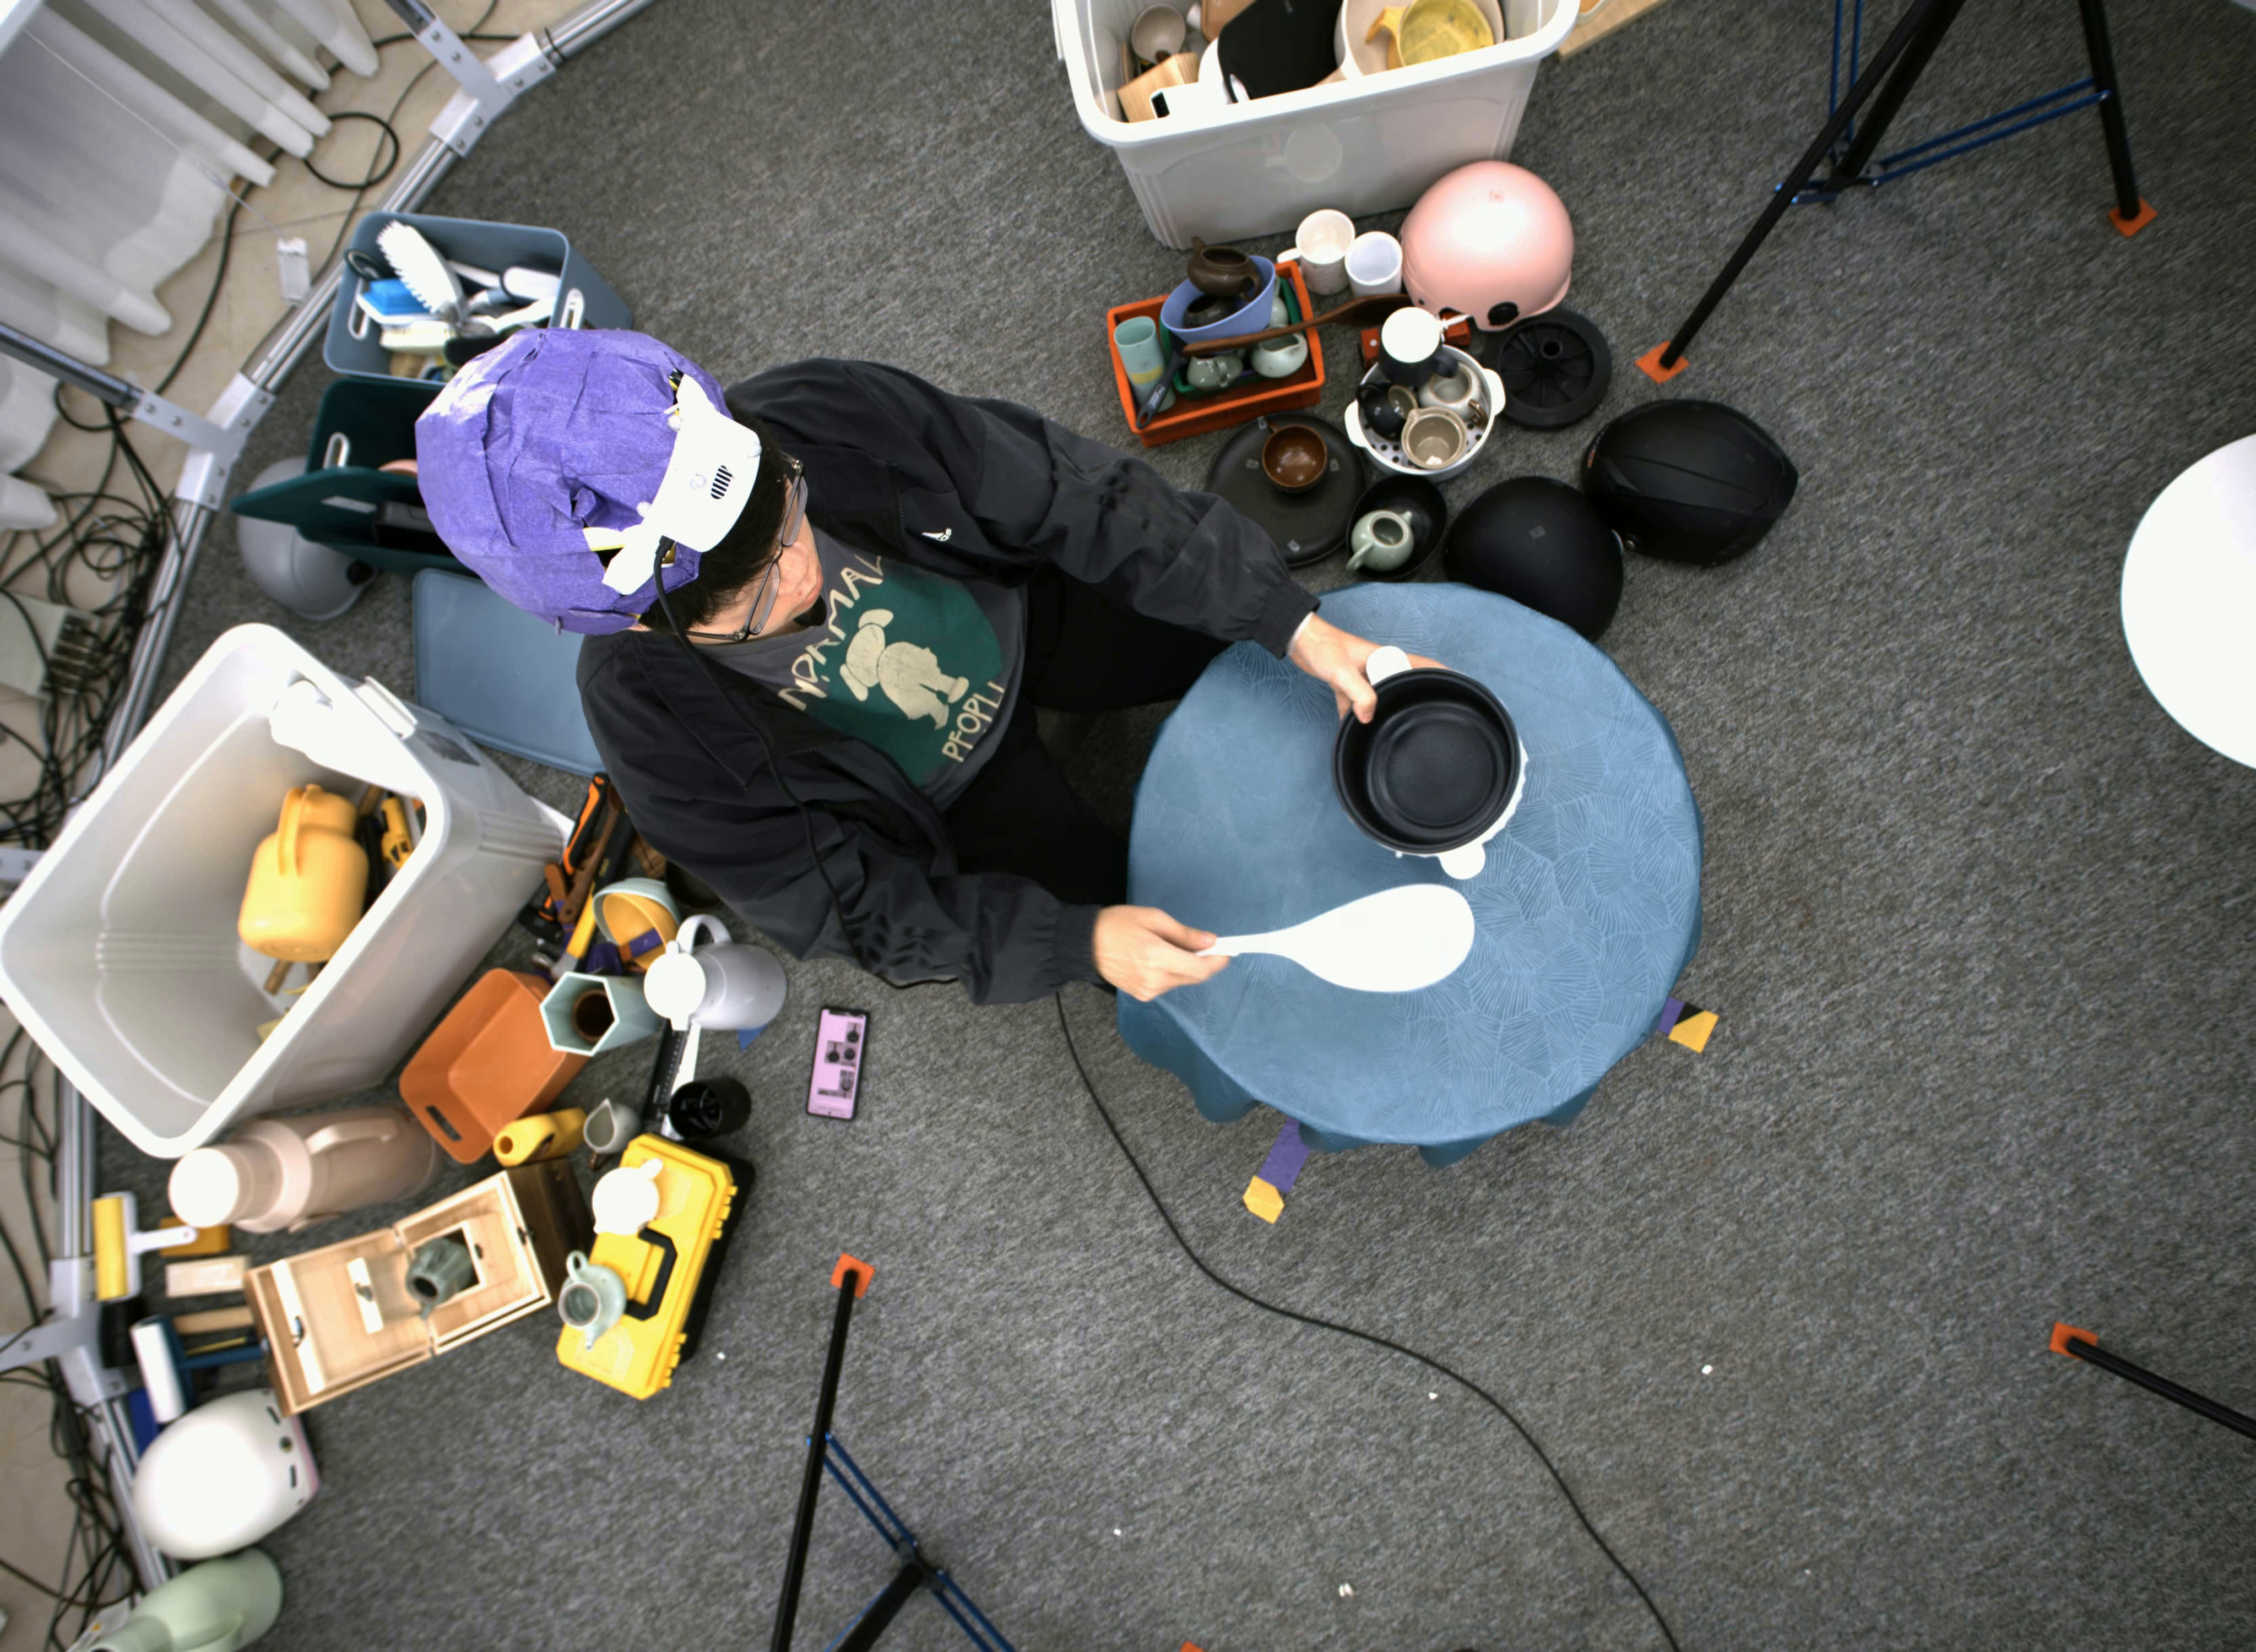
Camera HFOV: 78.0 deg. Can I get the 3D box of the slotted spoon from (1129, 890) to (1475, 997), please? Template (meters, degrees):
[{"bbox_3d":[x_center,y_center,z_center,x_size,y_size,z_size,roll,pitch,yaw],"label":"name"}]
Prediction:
[{"bbox_3d":[0.157,0.123,1.315,0.350,0.133,0.051,-2,129,25],"label":"slotted spoon"}]

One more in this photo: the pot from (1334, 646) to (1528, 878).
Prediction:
[{"bbox_3d":[0.302,-0.056,1.376,0.192,0.142,0.238,-22,79,14],"label":"pot"}]
